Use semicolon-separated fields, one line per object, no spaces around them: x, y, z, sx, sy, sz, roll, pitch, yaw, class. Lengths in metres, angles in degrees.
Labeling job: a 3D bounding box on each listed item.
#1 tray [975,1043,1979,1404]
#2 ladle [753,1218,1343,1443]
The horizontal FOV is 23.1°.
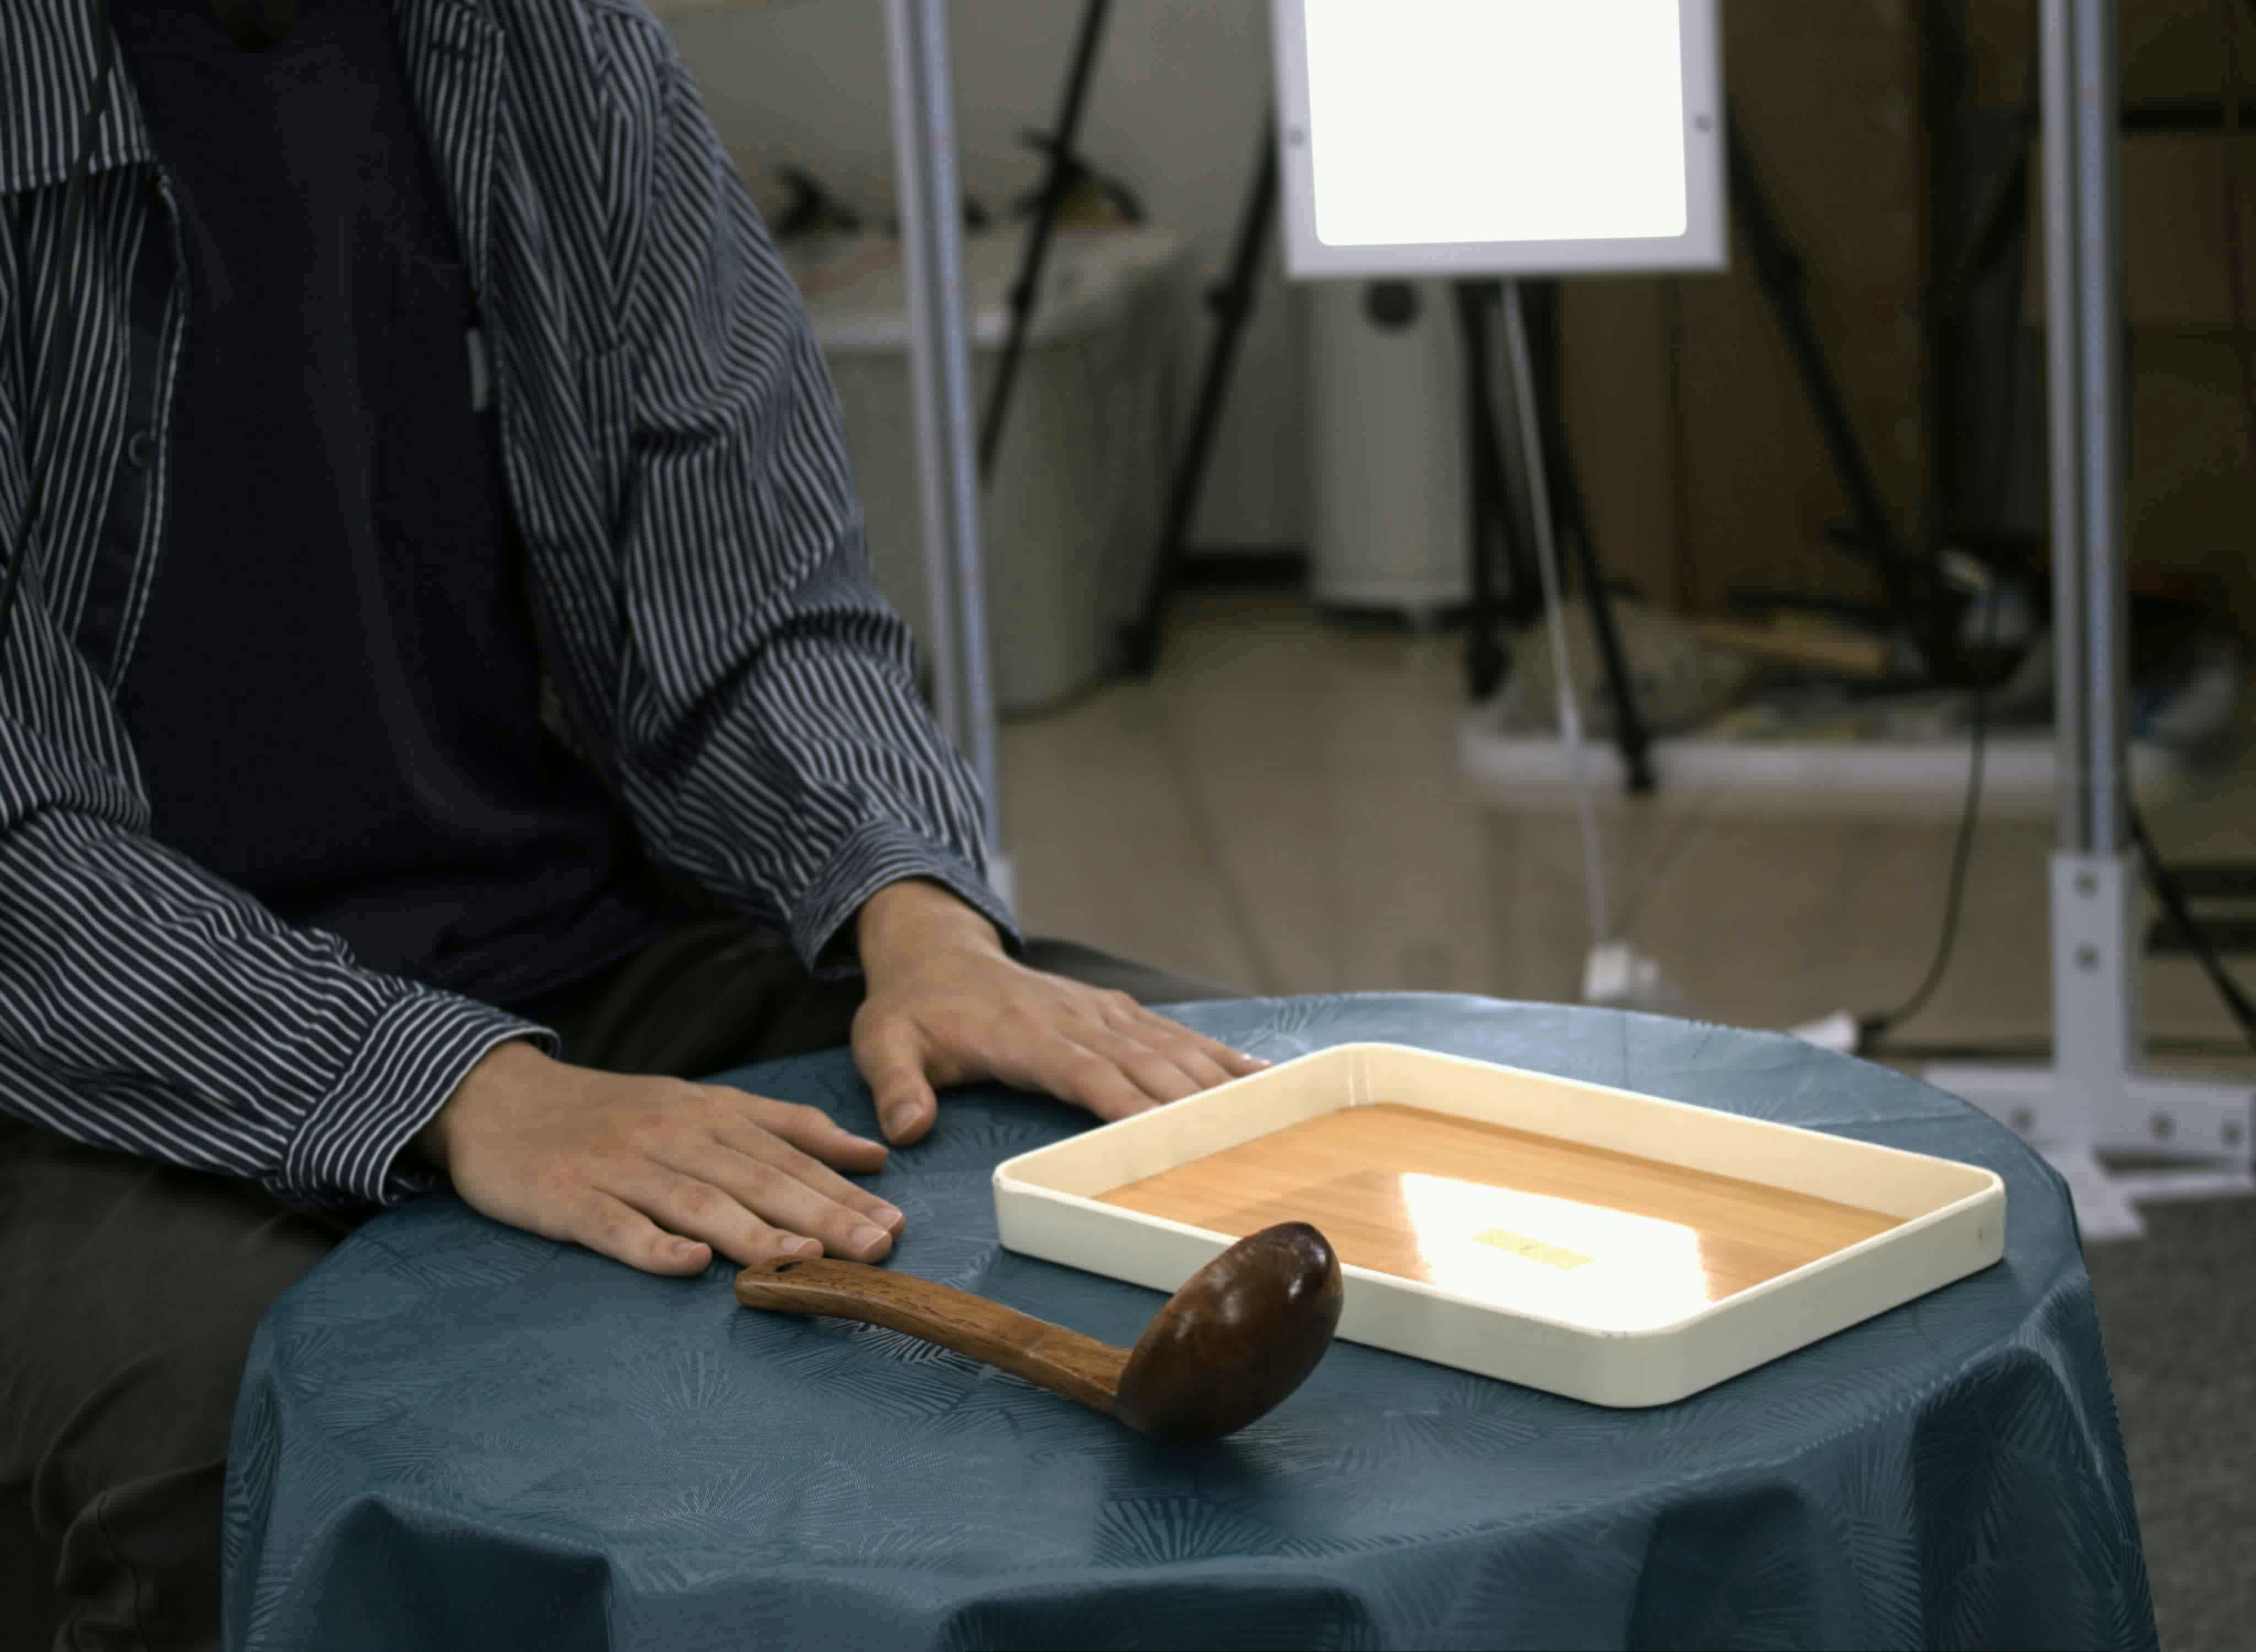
0.112;0.126;1.802;0.187;0.027;0.307;-17;17;-39;tray
-0.038;0.136;1.705;0.080;0.077;0.280;-20;20;-35;ladle
